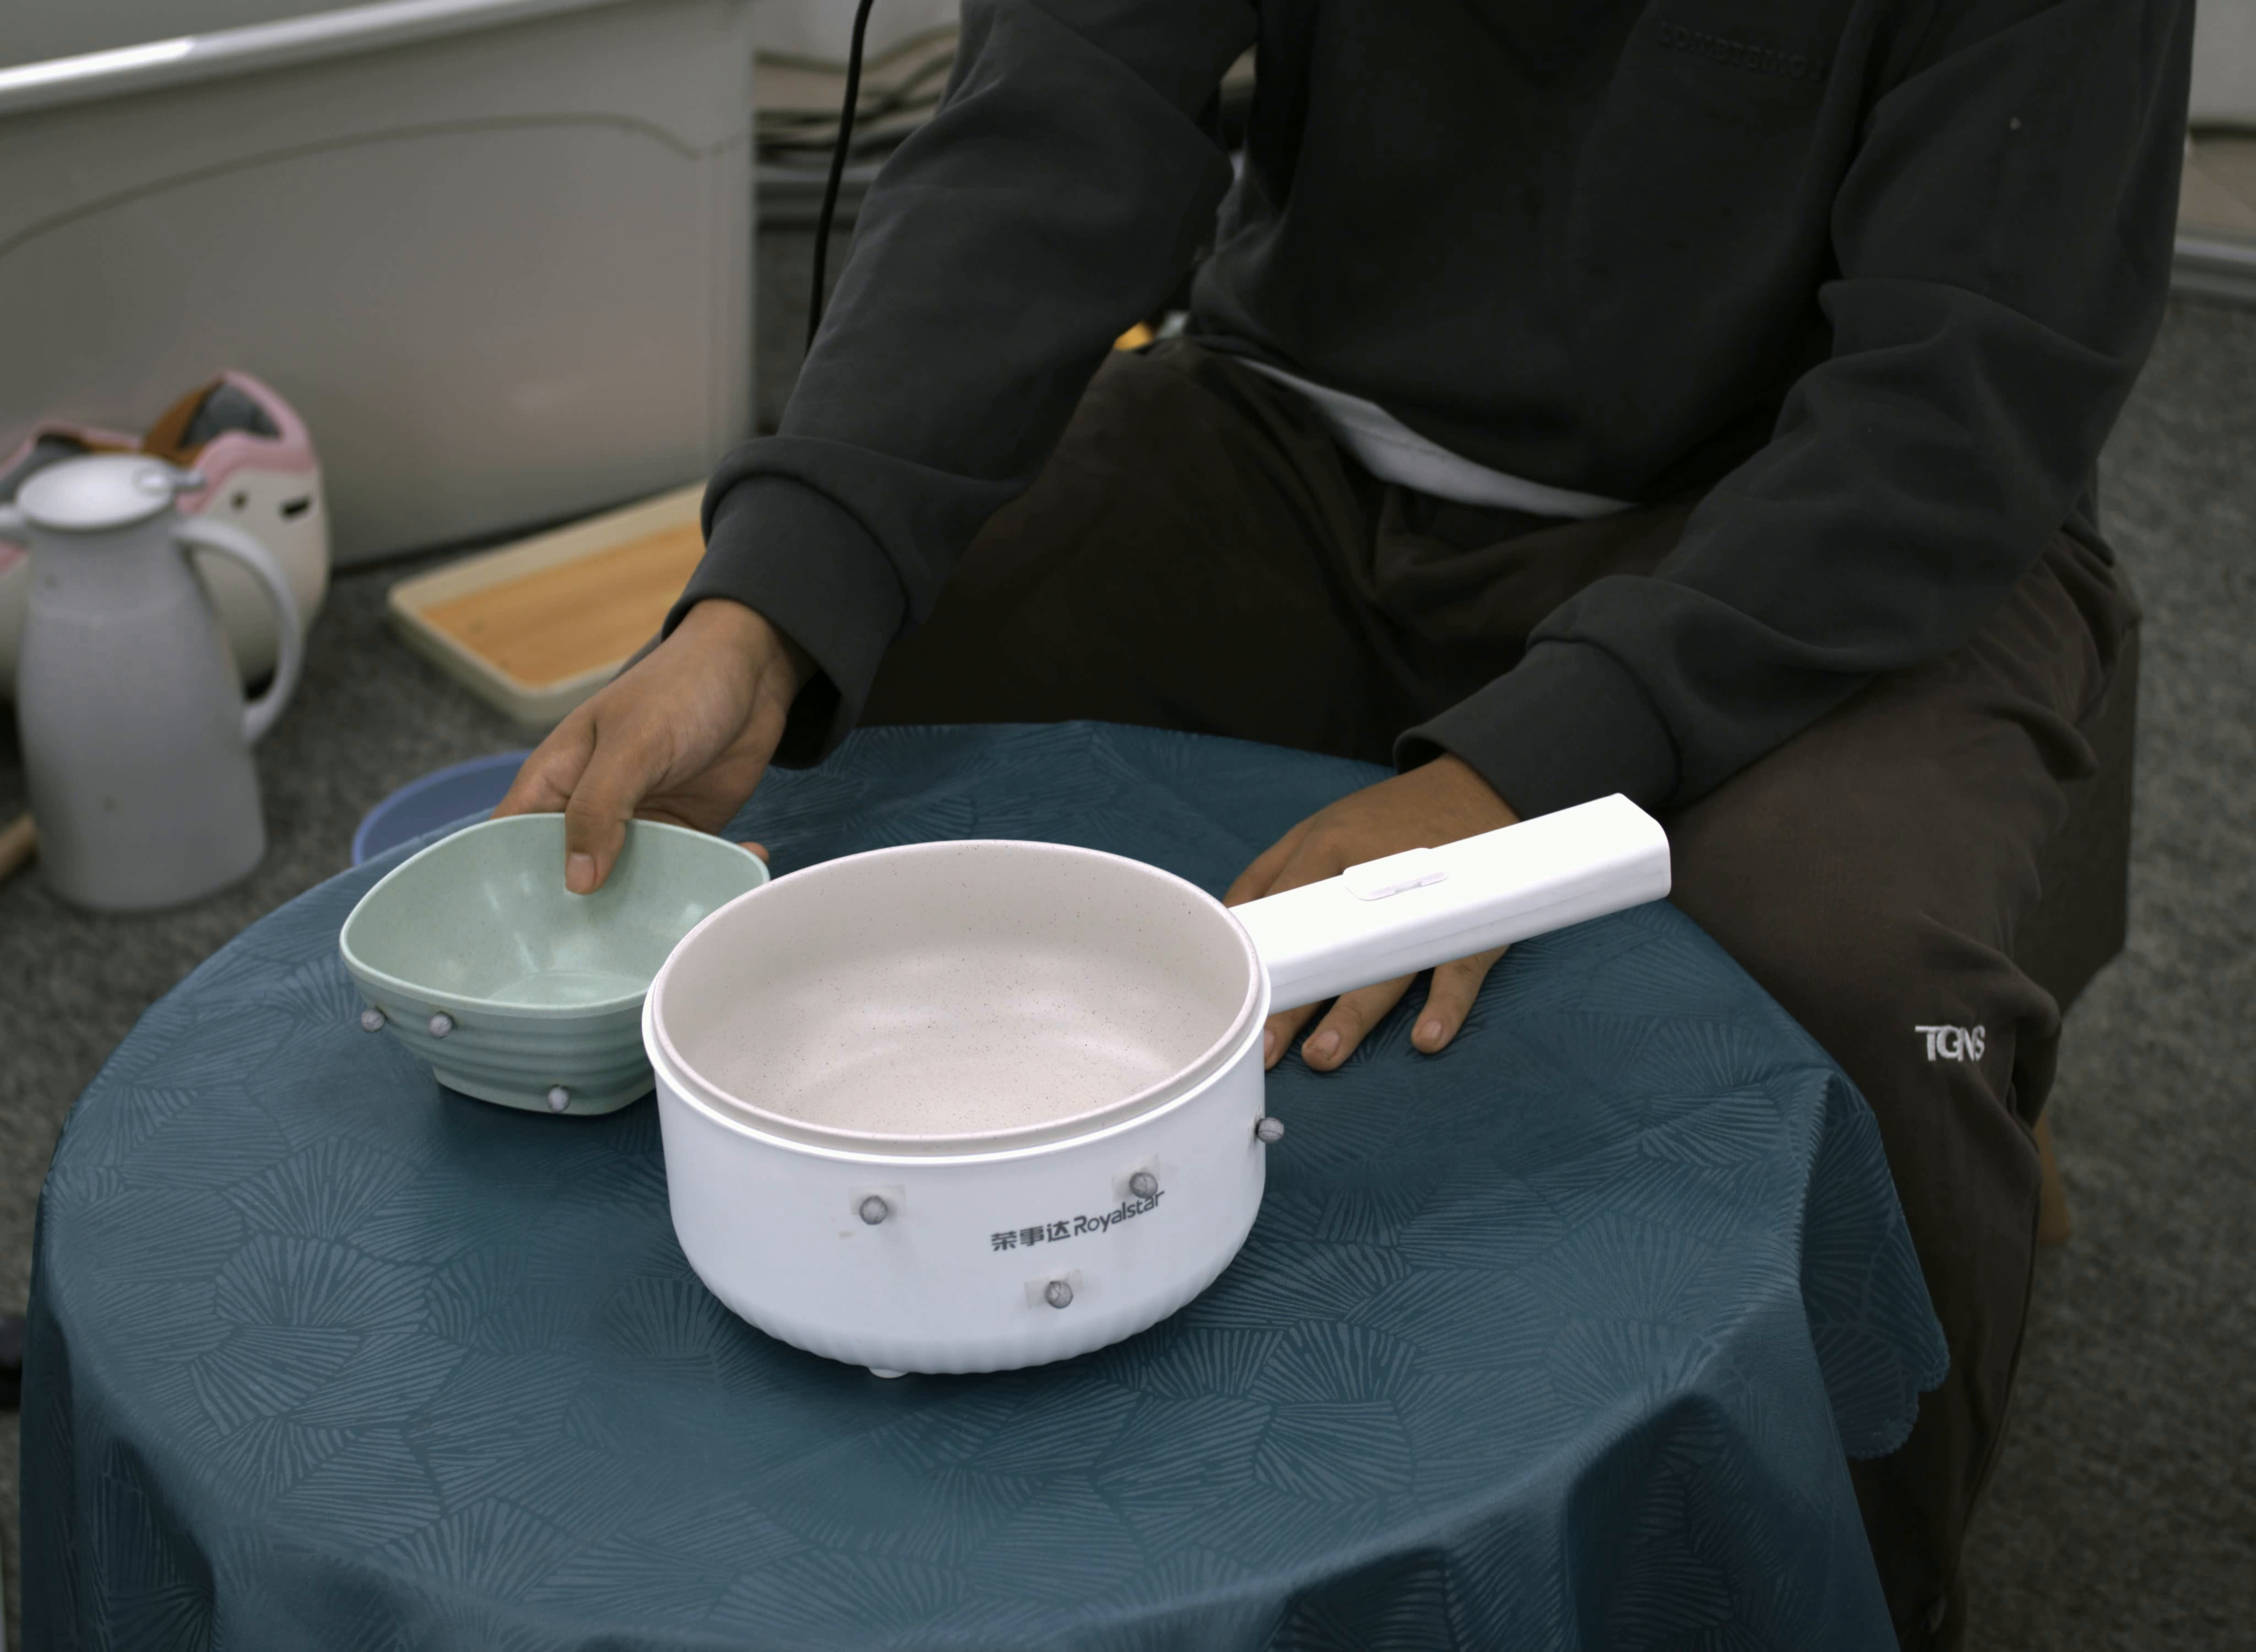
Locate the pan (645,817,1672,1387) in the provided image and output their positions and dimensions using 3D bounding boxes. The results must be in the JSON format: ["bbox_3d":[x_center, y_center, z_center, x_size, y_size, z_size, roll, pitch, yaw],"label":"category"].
[{"bbox_3d":[0.016,0.082,1.846,0.356,0.101,0.202,-14,26,-23],"label":"pan"}]

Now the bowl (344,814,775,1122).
[{"bbox_3d":[-0.194,0.055,1.948,0.150,0.058,0.154,-3,28,2],"label":"bowl"}]
